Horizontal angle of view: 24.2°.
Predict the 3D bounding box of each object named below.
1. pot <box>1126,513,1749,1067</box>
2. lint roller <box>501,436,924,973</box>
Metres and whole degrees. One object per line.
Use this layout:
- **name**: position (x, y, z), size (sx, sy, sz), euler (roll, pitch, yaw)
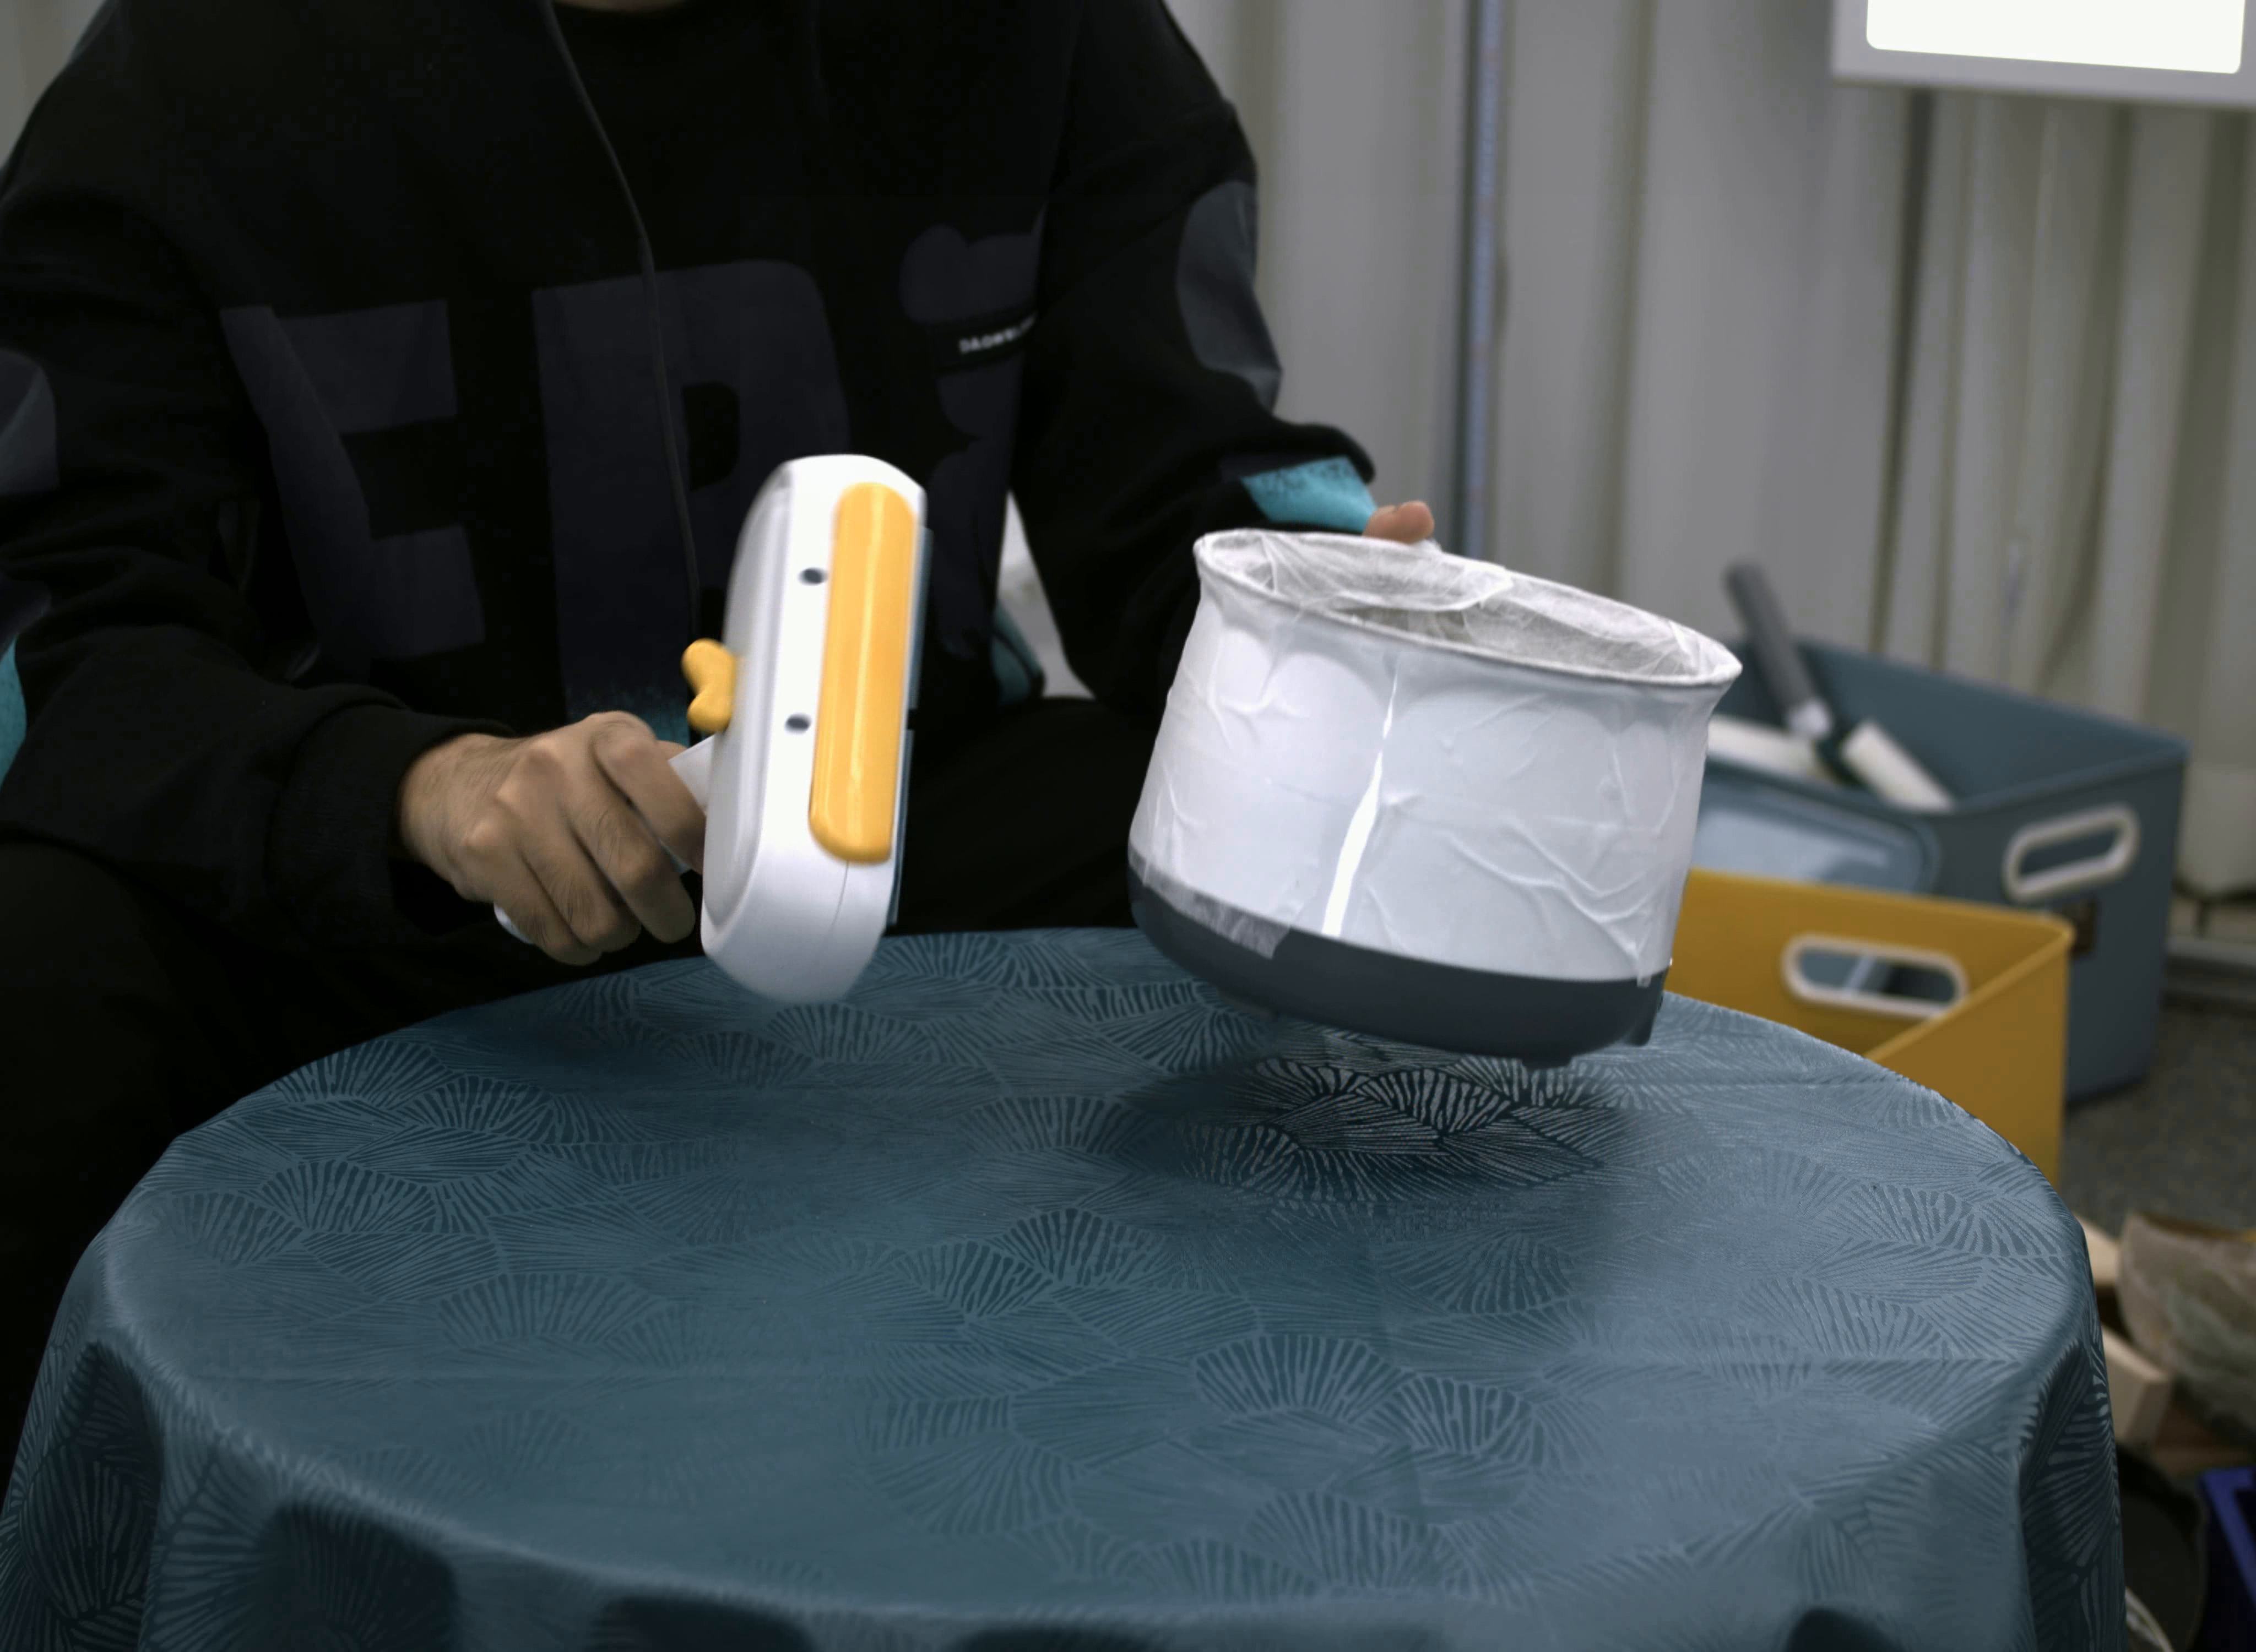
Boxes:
- **pot**: position (0.091, -0.019, 1.690), size (0.179, 0.137, 0.232), euler (13, 12, -10)
- **lint roller**: position (-0.133, -0.011, 1.694), size (0.075, 0.192, 0.191), euler (20, 47, -26)
